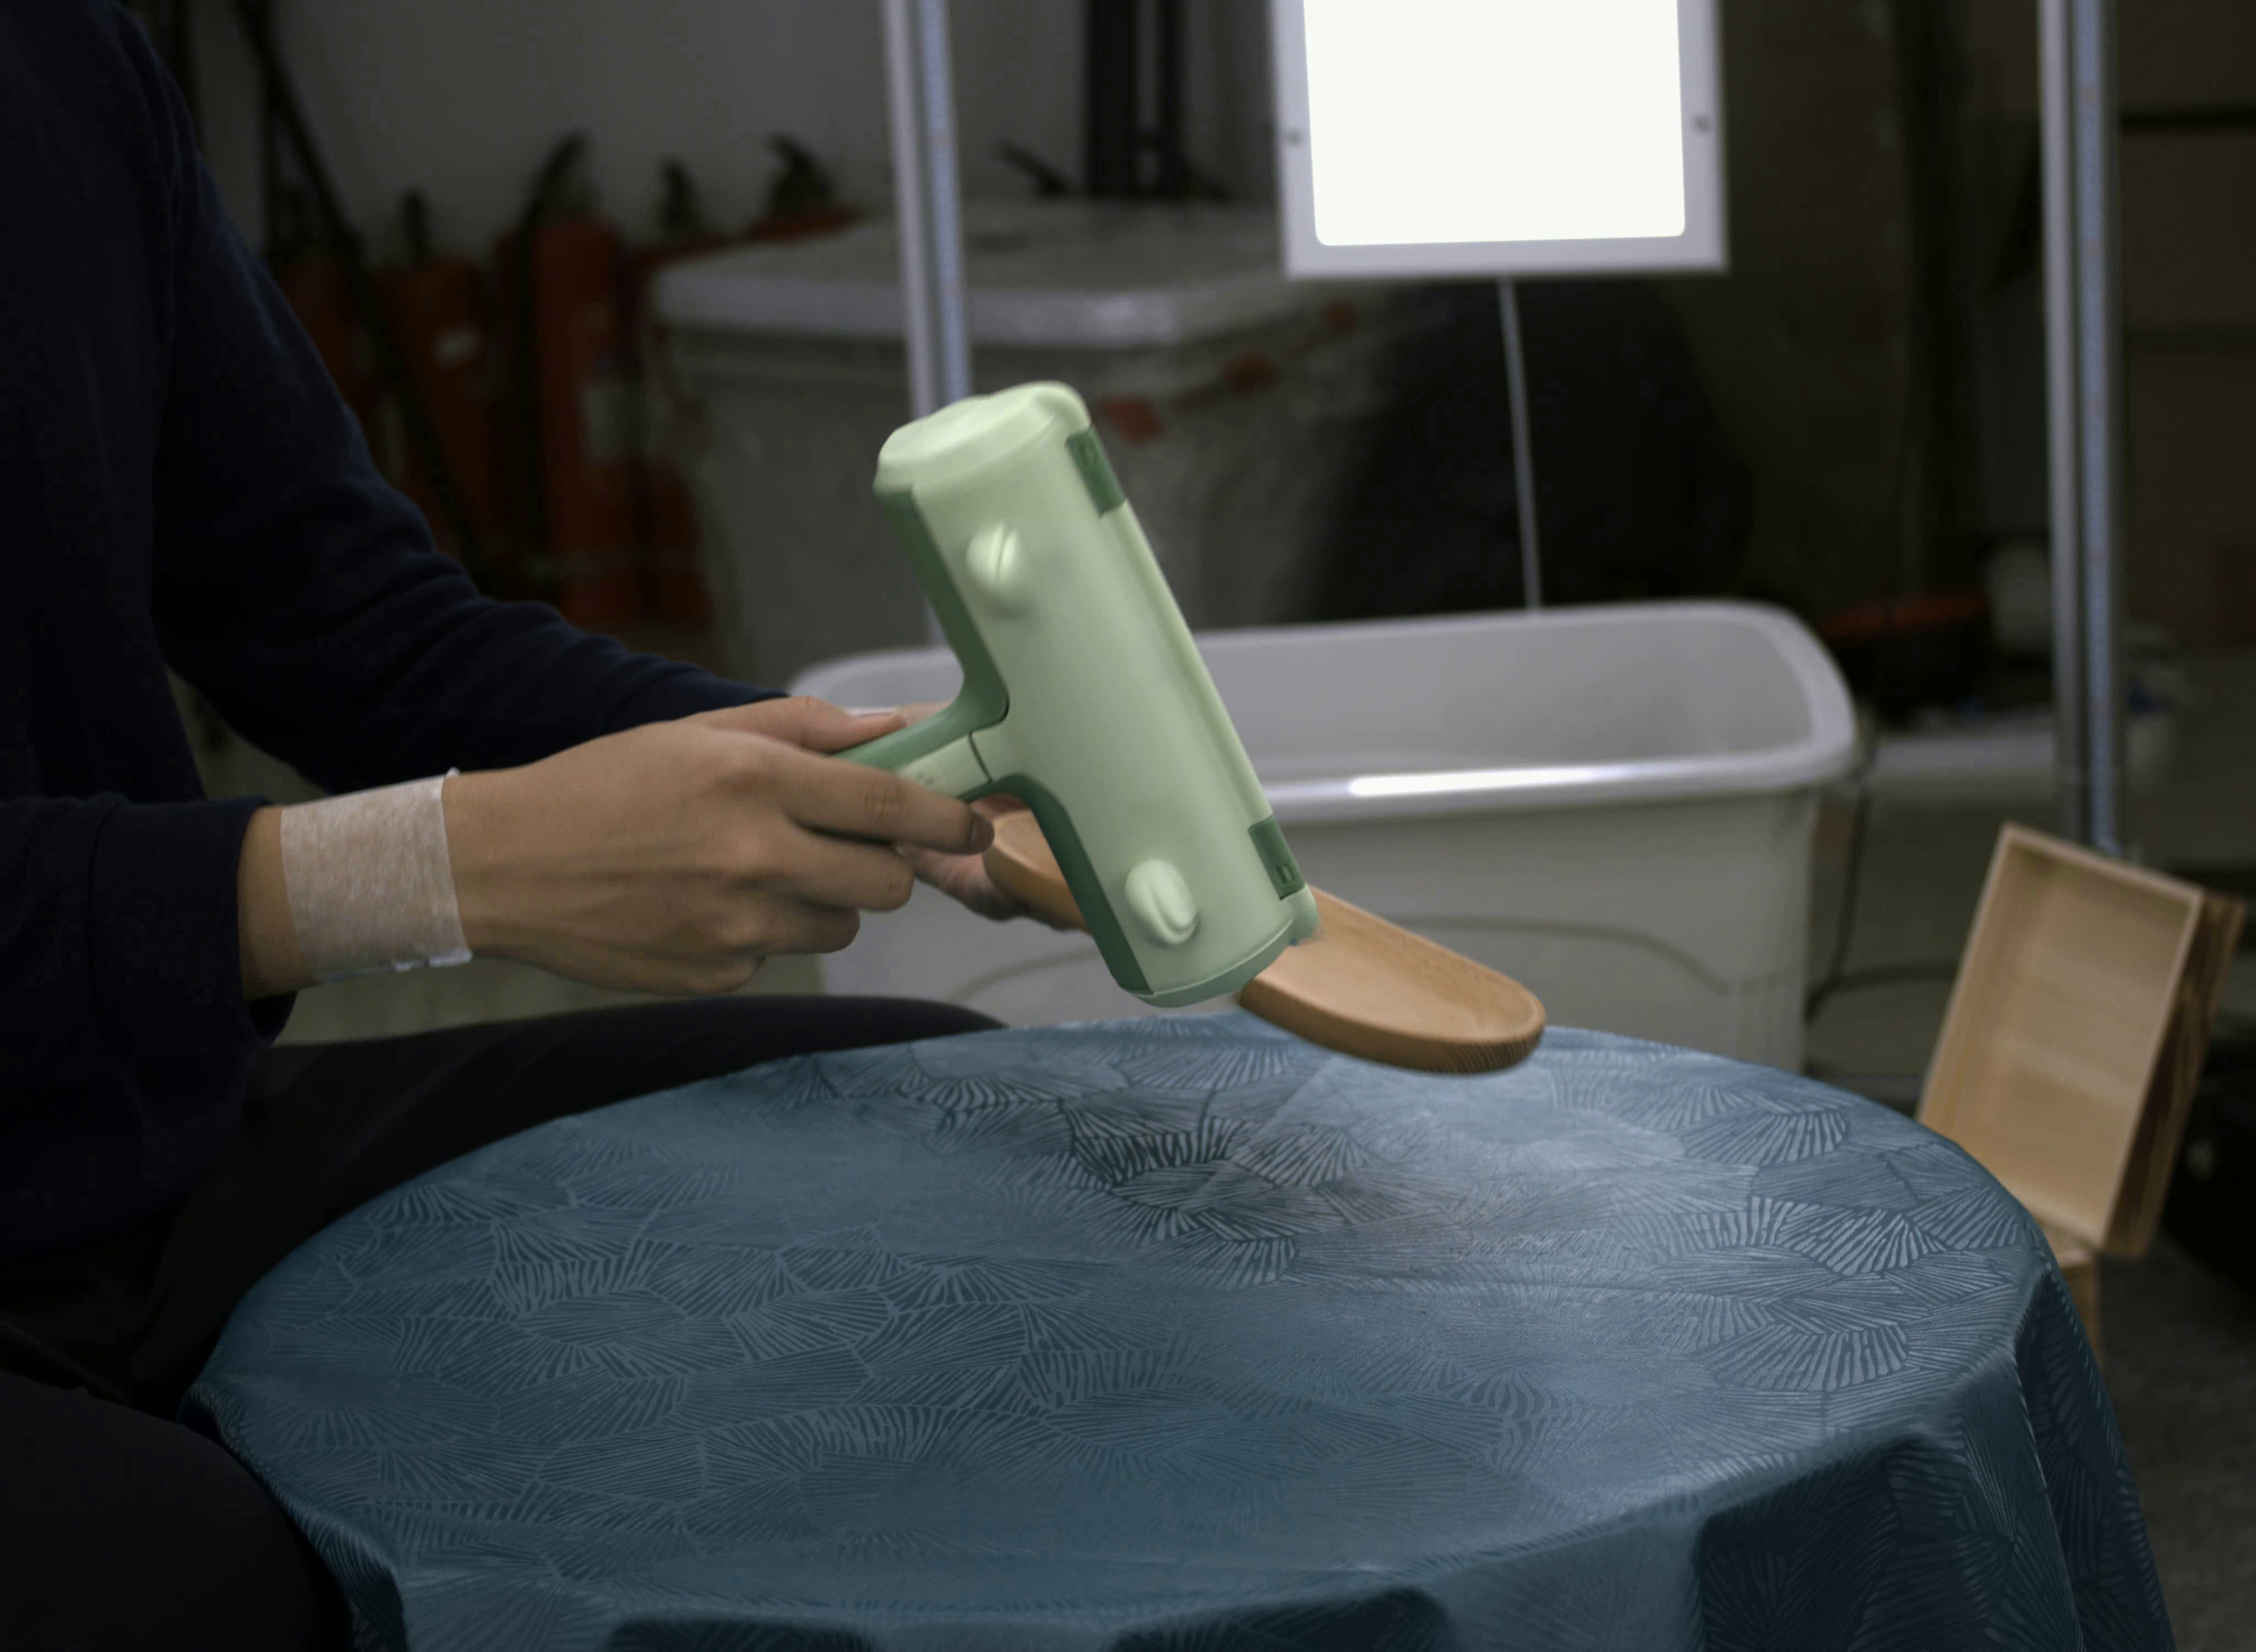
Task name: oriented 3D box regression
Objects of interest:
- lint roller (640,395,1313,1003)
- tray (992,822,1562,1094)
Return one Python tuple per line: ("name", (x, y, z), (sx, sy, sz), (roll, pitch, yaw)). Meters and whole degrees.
("lint roller", (-0.062, -0.008, 1.657), (0.183, 0.198, 0.082), (-28, 24, 1))
("tray", (0.048, 0.043, 1.859), (0.099, 0.020, 0.235), (-8, 26, -44))
